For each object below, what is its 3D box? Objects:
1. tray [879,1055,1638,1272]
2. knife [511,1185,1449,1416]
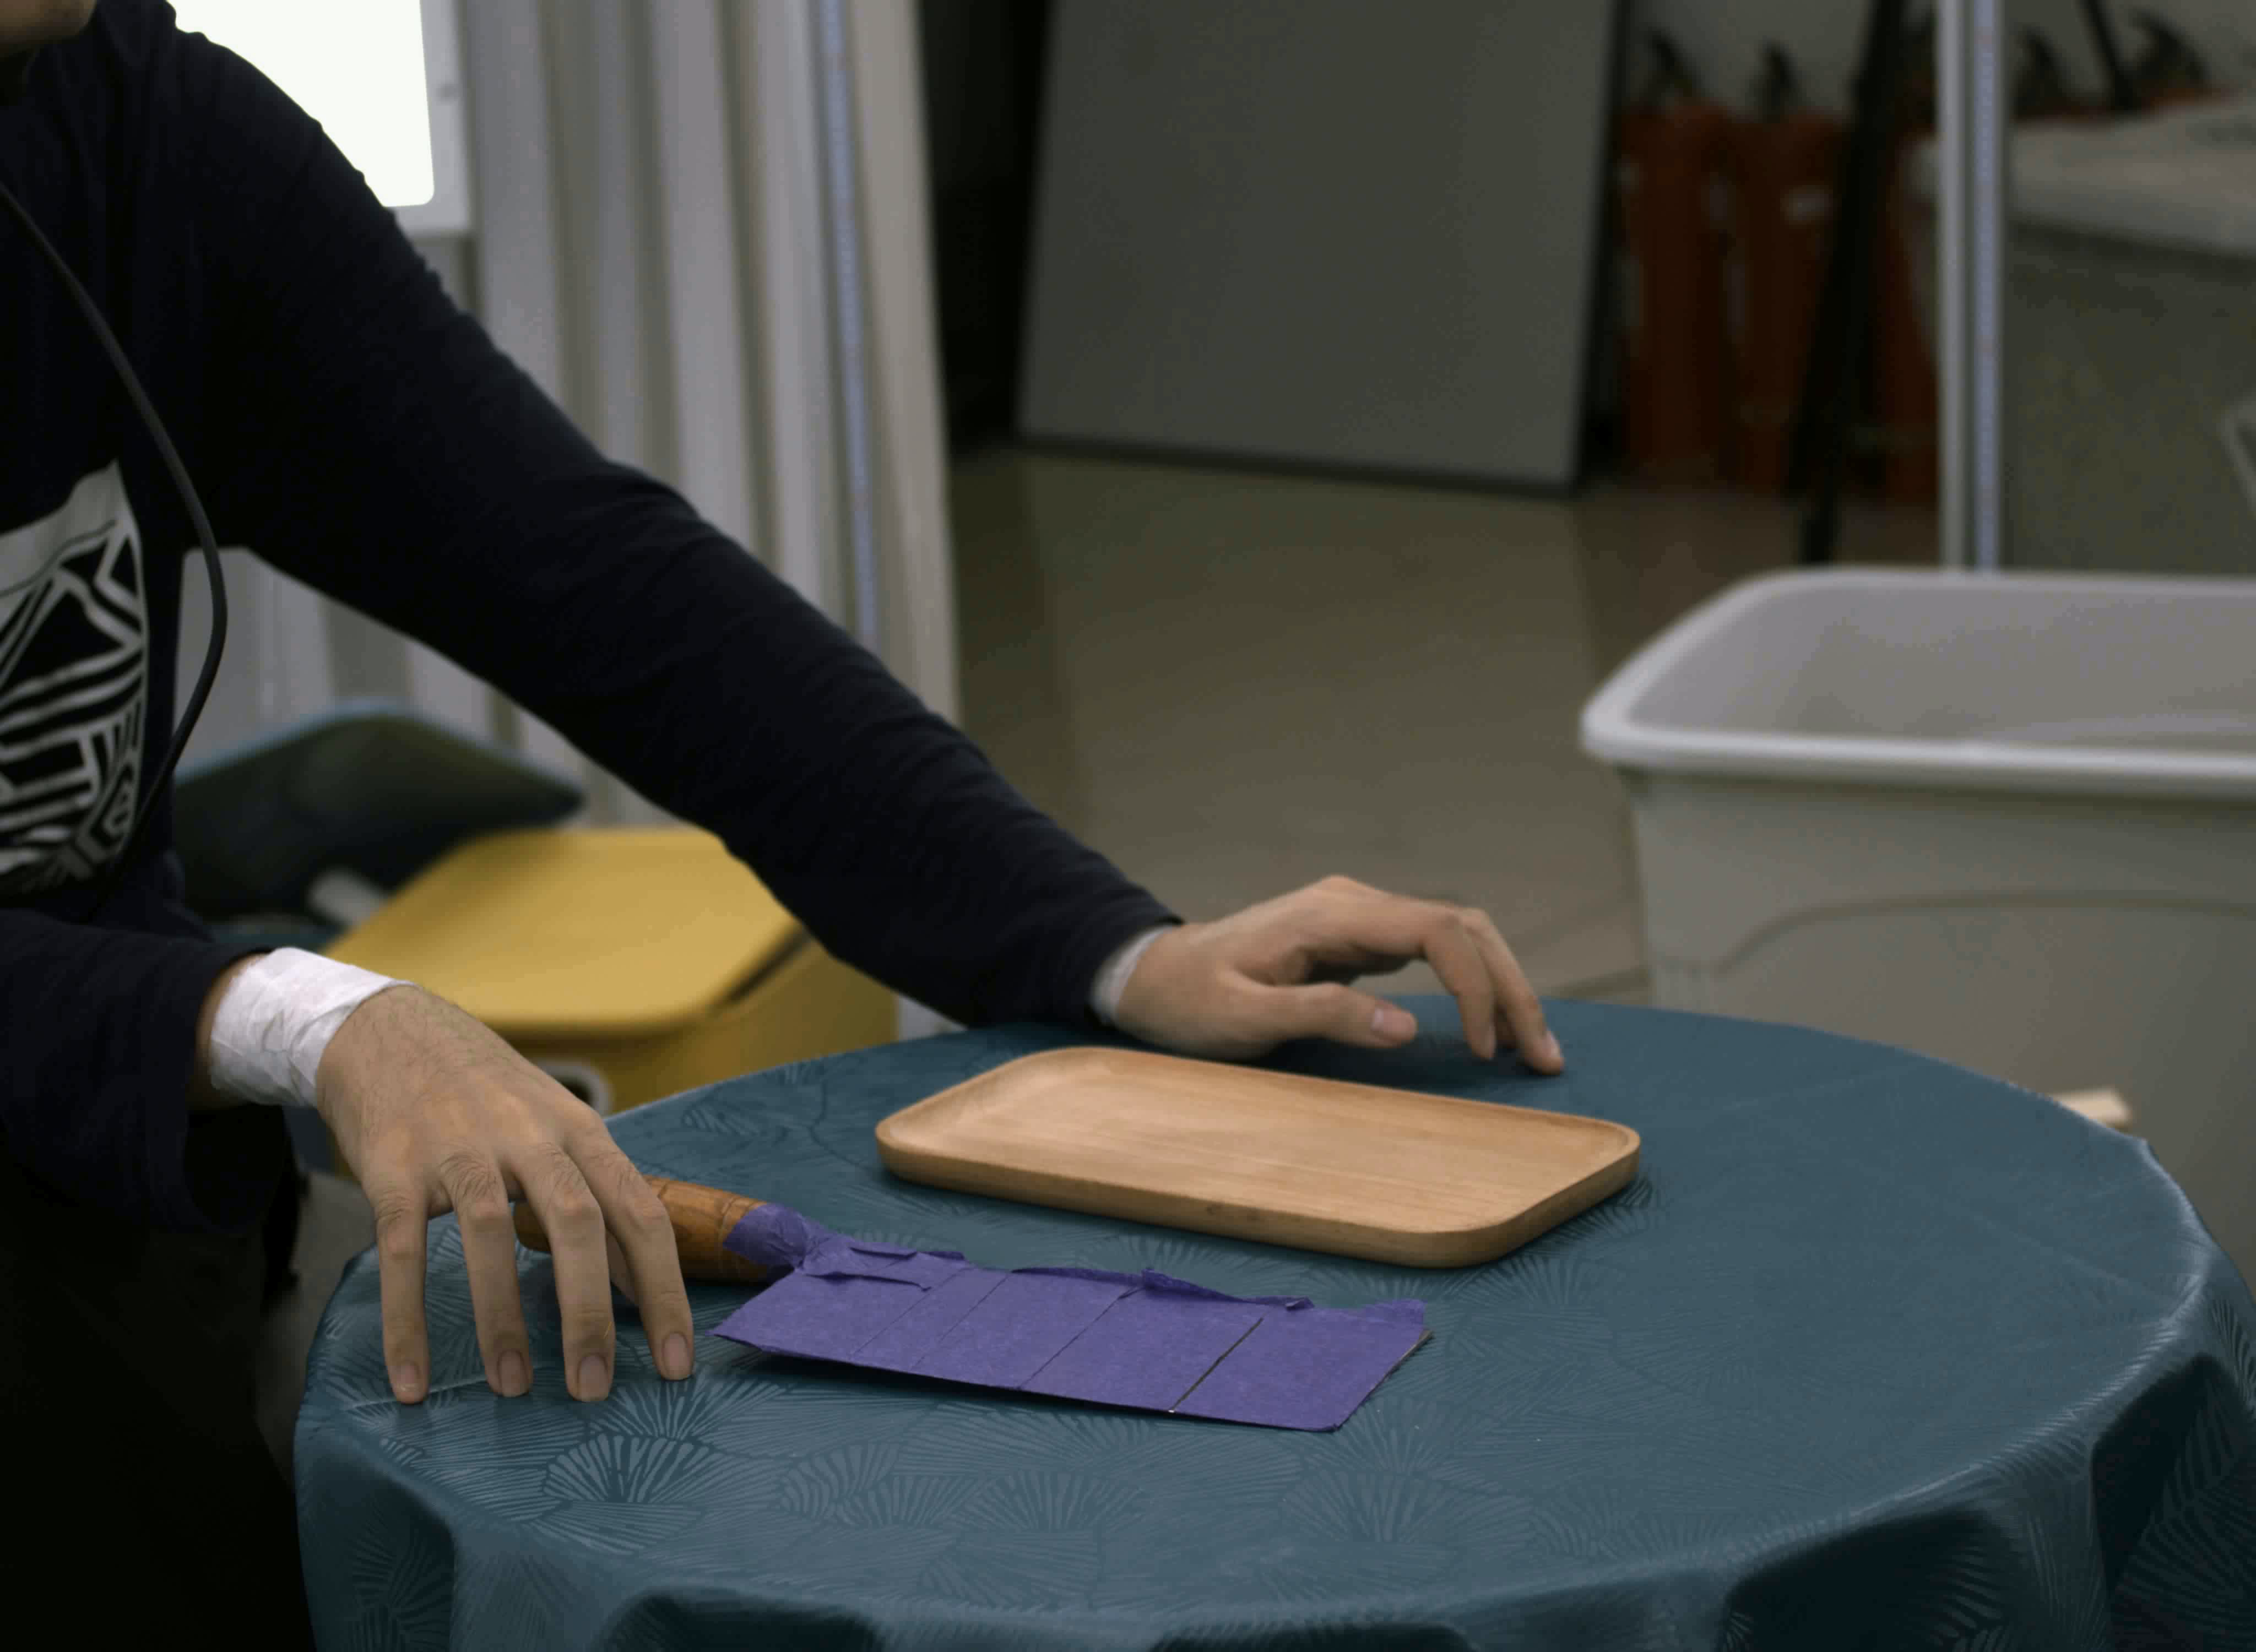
[{"bbox_3d":[0.041,0.110,1.777,0.252,0.023,0.128,8,20,39],"label":"tray"},{"bbox_3d":[-0.062,0.144,1.643,0.315,0.032,0.102,3,15,25],"label":"knife"}]
